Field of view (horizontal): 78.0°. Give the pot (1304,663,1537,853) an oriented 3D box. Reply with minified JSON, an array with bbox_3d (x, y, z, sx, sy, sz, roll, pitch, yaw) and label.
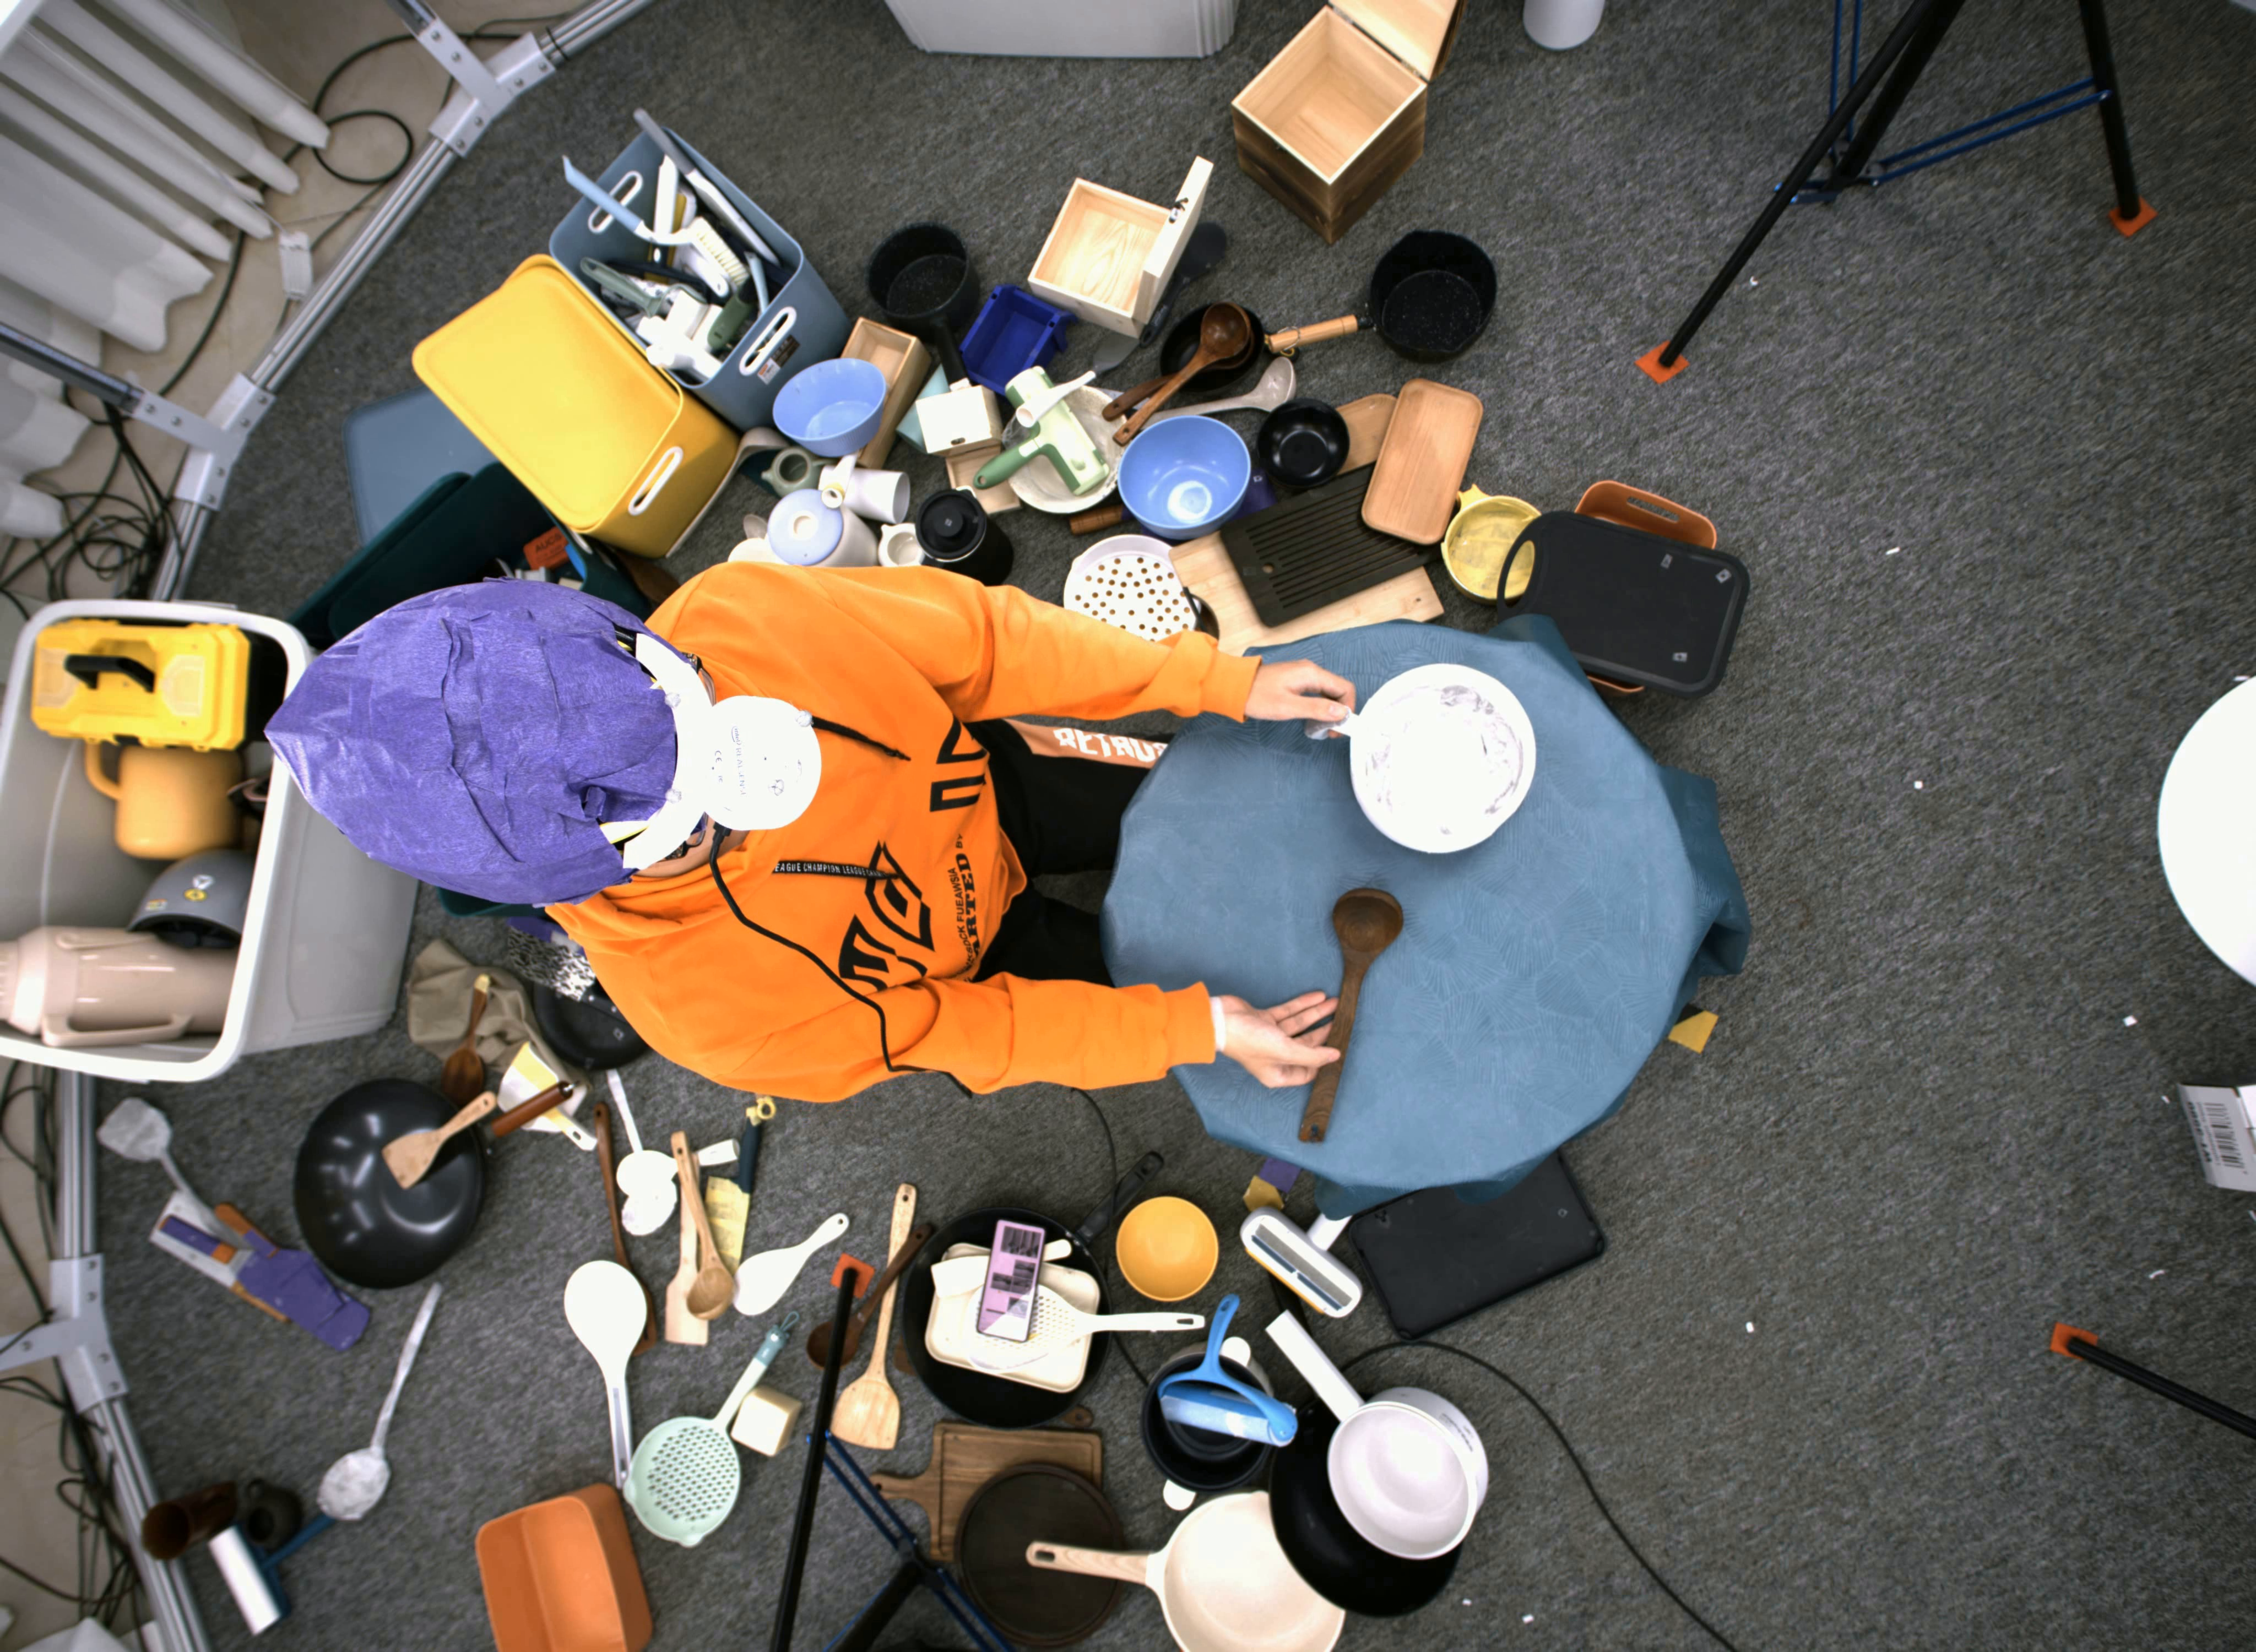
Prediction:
[{"bbox_3d":[0.289,-0.075,1.394,0.234,0.137,0.178,21,89,11],"label":"pot"}]

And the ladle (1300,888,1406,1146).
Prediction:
[{"bbox_3d":[0.222,0.197,1.426,0.076,0.071,0.273,15,89,12],"label":"ladle"}]
